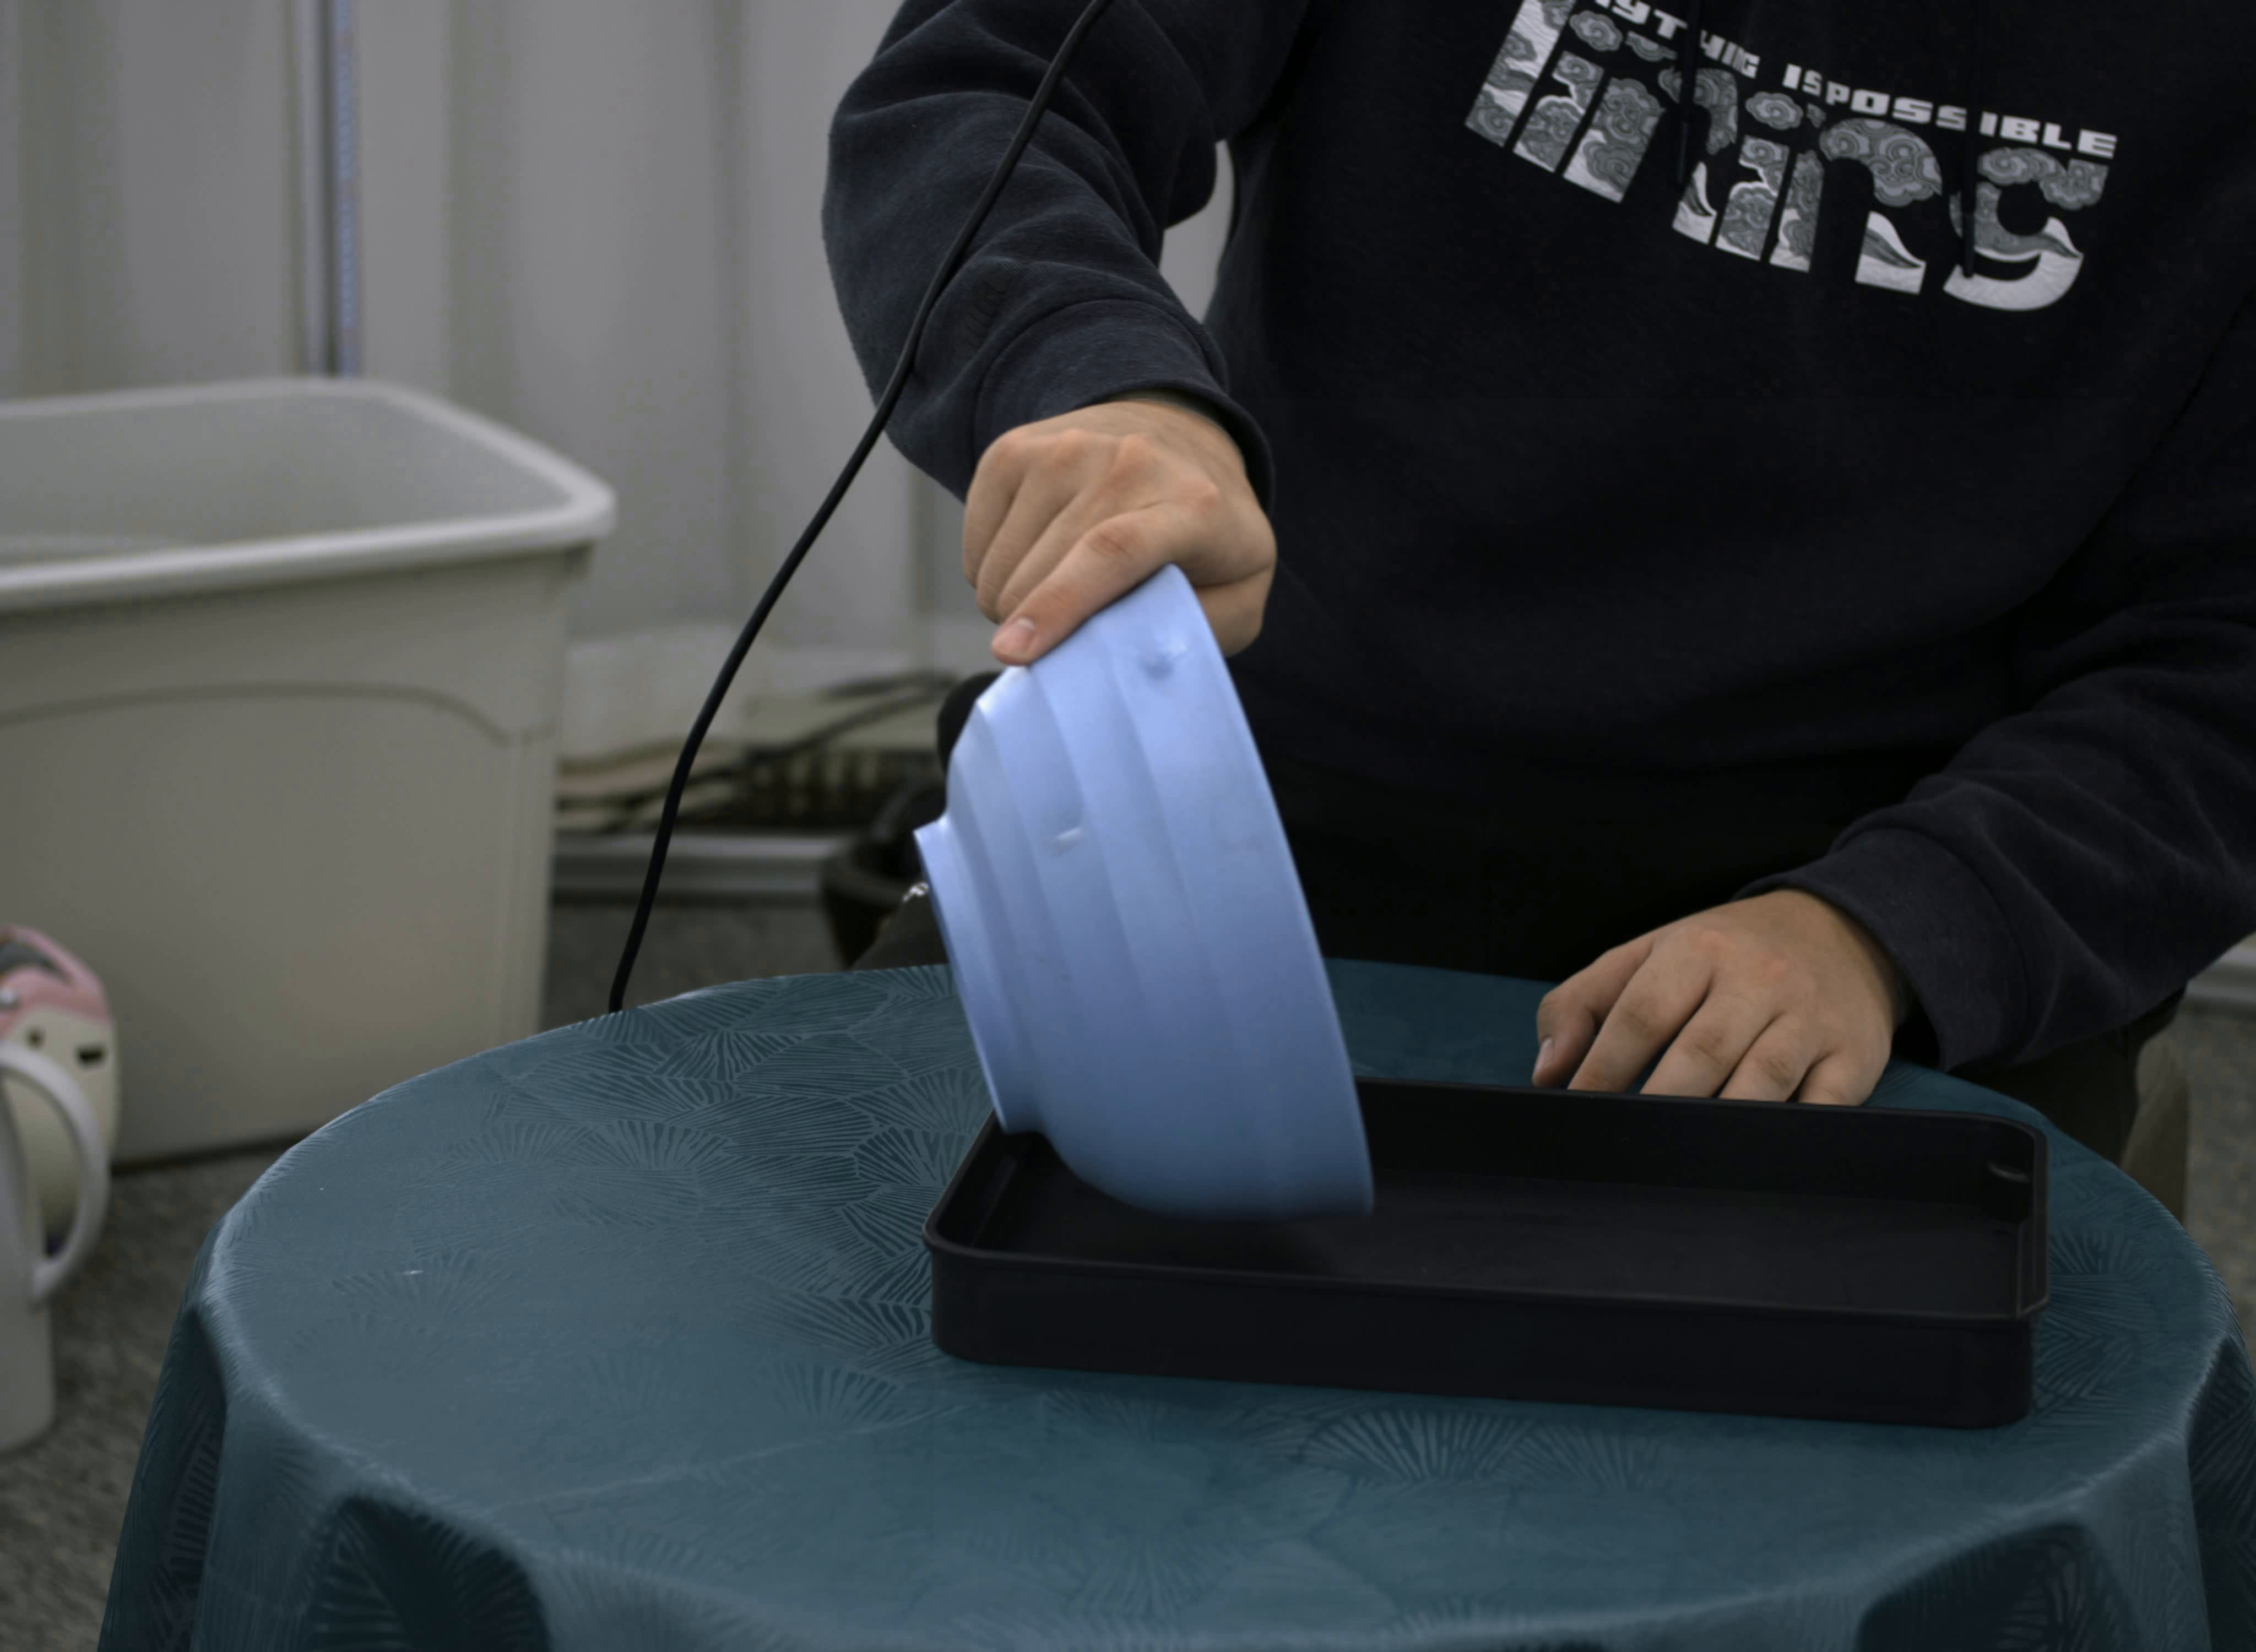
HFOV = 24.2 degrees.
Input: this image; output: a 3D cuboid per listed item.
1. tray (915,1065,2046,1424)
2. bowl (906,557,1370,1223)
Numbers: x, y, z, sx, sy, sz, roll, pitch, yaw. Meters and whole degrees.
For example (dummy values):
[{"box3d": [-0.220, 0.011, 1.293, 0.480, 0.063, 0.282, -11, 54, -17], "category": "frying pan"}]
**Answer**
[{"box3d": [0.107, 0.117, 1.542, 0.316, 0.037, 0.184, 3, 15, 8], "category": "tray"}, {"box3d": [-0.005, 0.030, 1.507, 0.095, 0.198, 0.195, -17, 18, -3], "category": "bowl"}]
